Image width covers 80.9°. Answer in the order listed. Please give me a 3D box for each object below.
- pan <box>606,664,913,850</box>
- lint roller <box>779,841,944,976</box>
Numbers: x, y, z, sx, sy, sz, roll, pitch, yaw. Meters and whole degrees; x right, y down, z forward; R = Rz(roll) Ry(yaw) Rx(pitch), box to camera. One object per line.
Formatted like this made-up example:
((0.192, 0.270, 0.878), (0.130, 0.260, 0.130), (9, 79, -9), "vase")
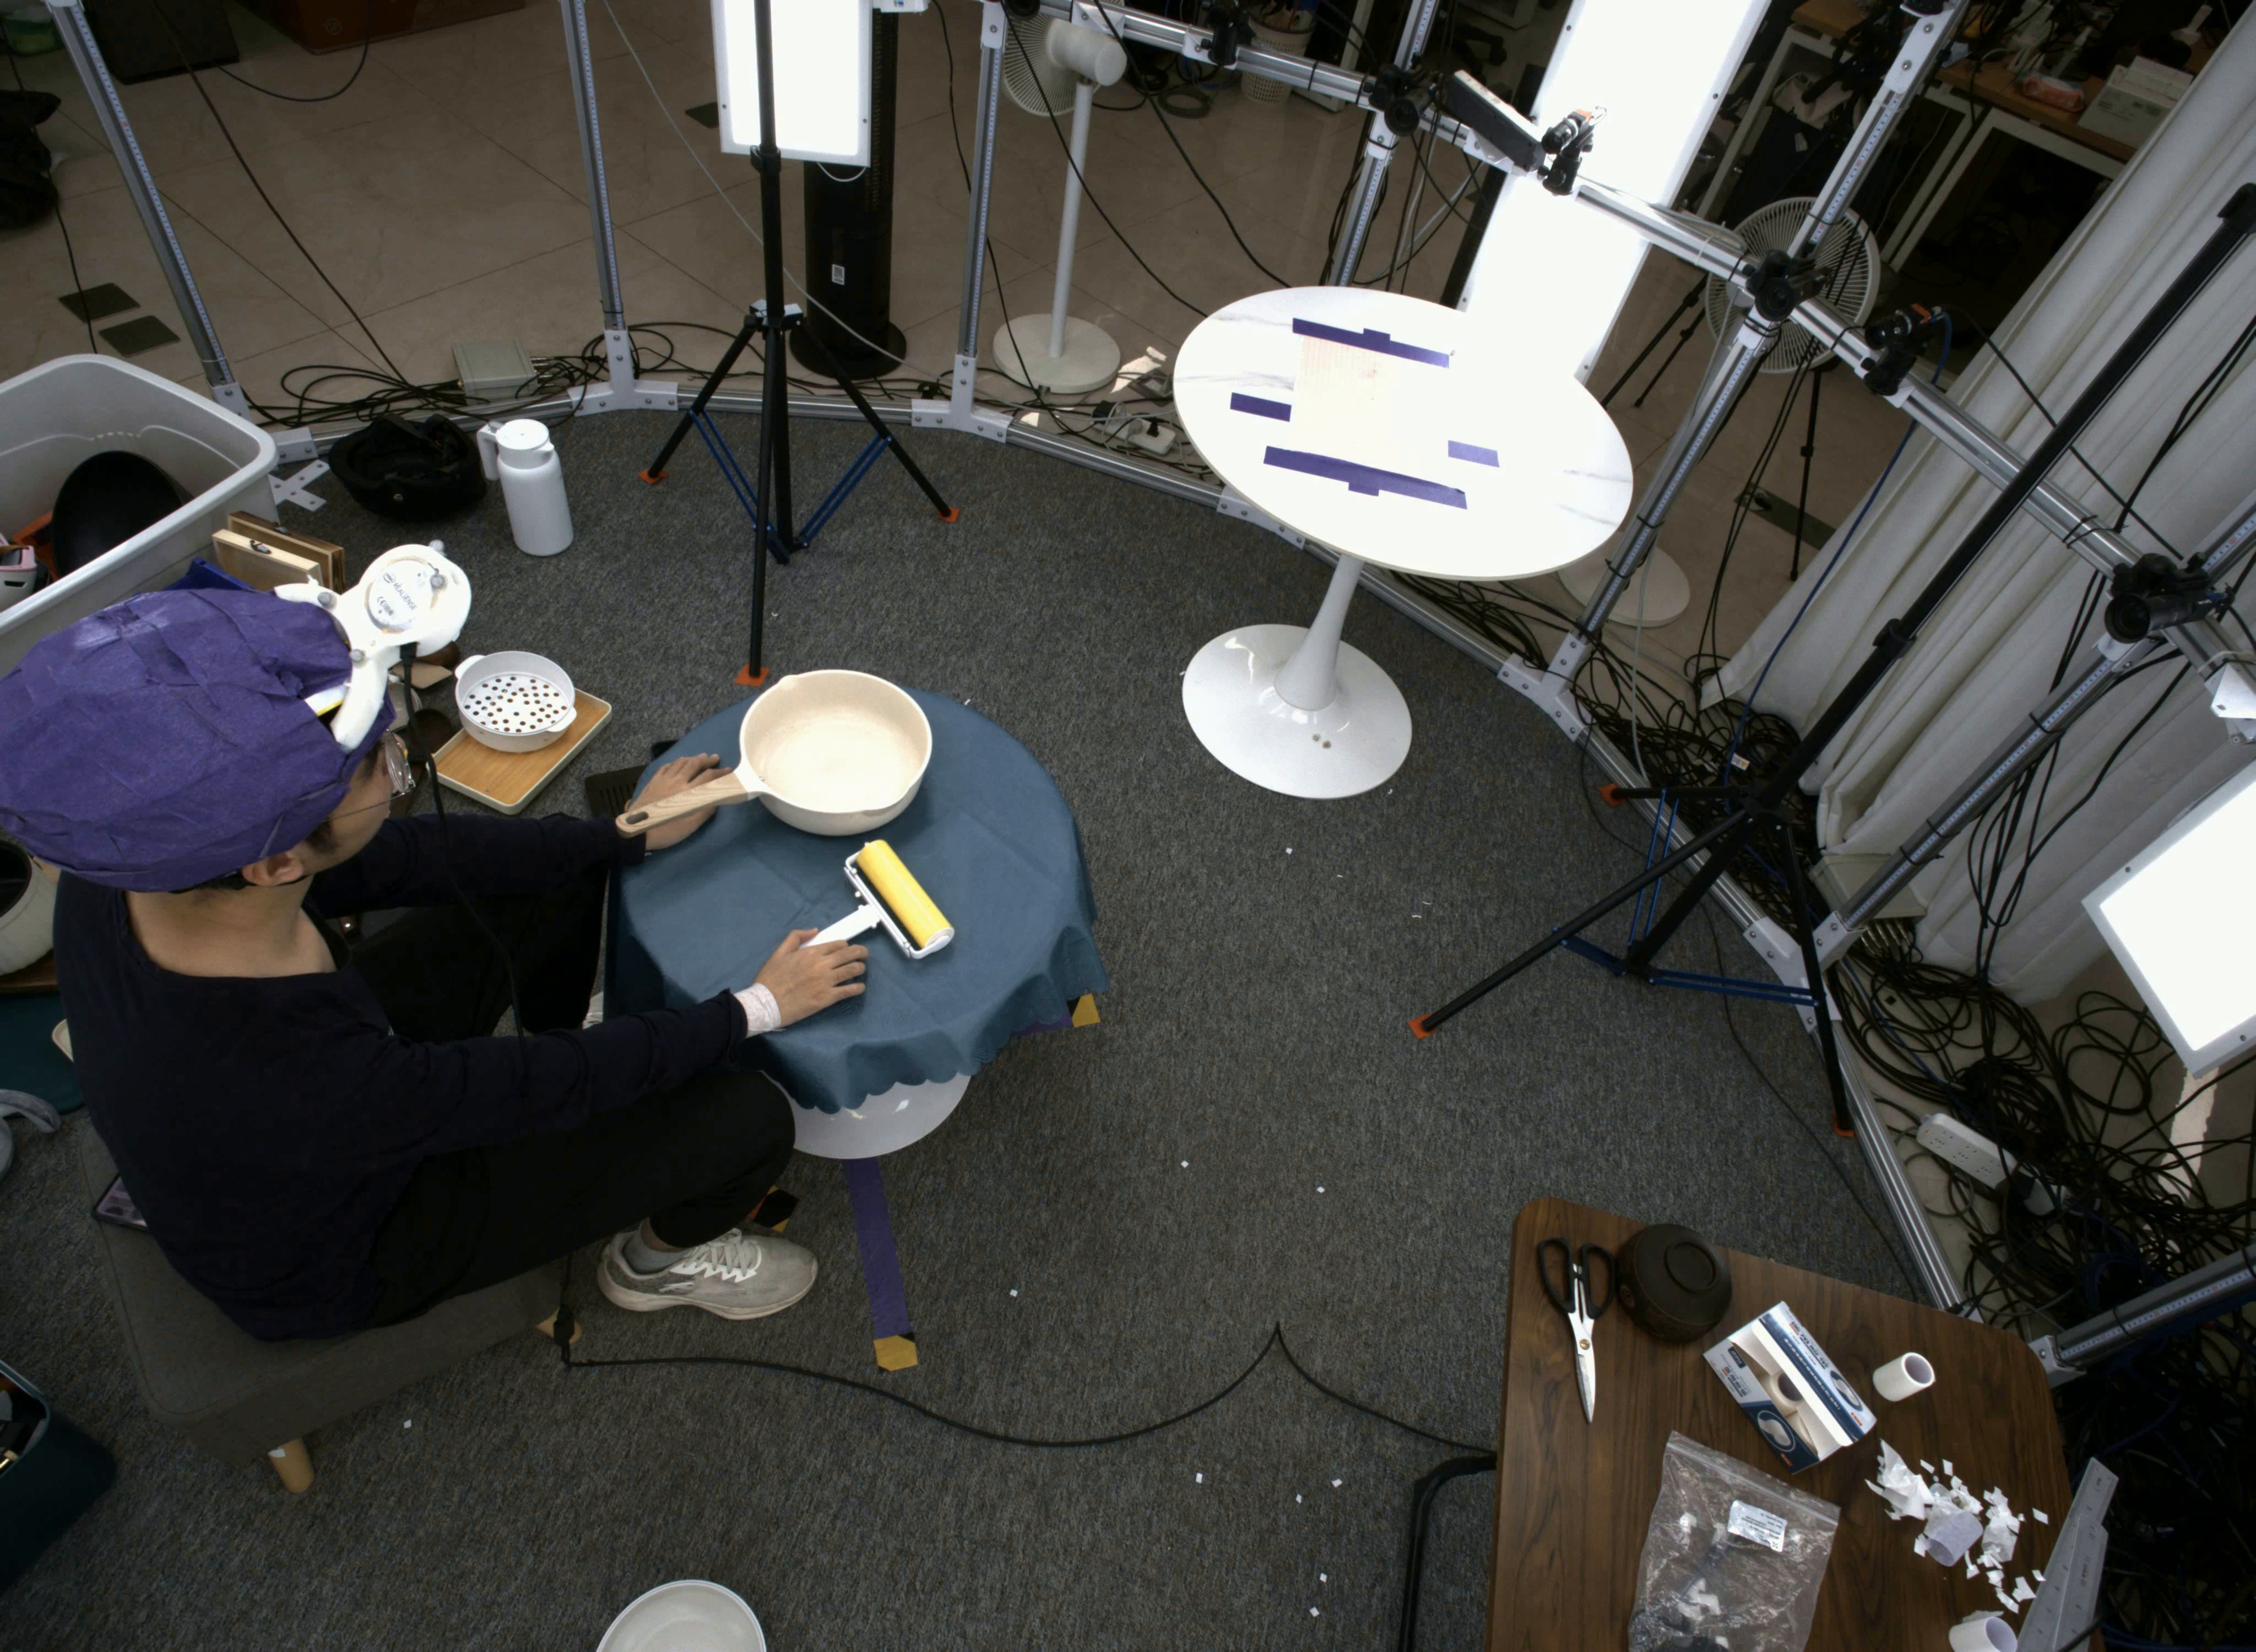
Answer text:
((-0.484, -0.059, 1.700), (0.436, 0.104, 0.258), (-32, 69, -31), "pan")
((-0.355, 0.122, 1.632), (0.192, 0.052, 0.170), (-30, 66, -29), "lint roller")
